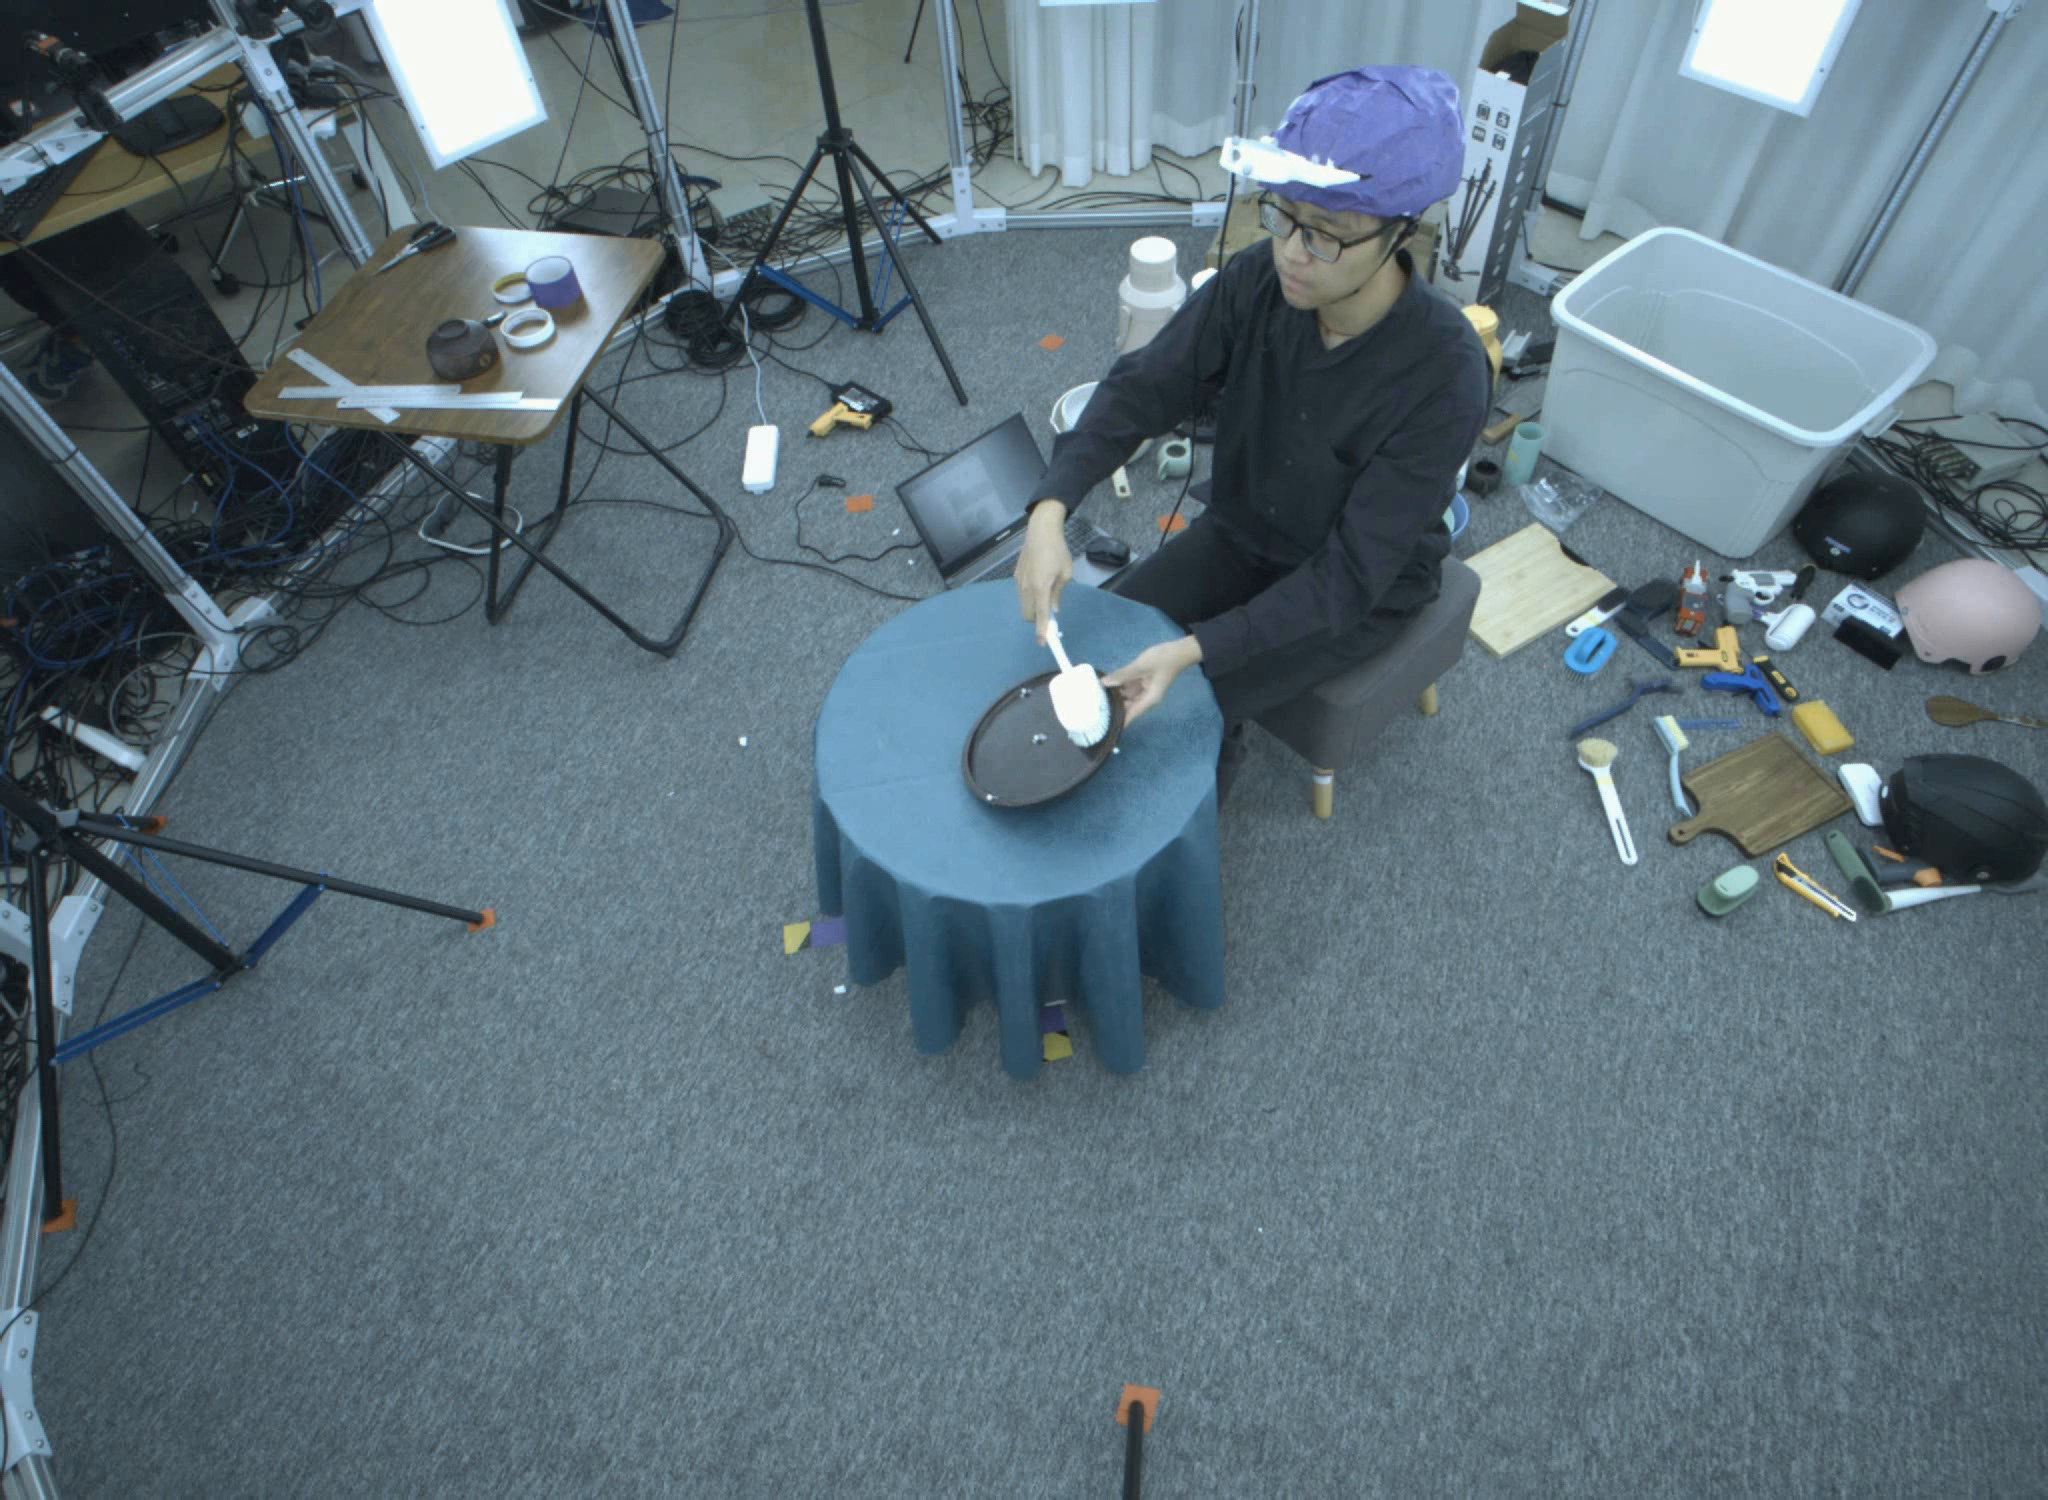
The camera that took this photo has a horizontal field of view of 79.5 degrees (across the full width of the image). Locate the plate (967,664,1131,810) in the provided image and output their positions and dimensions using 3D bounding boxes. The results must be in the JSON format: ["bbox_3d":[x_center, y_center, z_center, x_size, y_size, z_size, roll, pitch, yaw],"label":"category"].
[{"bbox_3d":[0.035,-0.019,1.724,0.252,0.029,0.252,-18,43,20],"label":"plate"}]

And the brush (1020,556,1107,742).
[{"bbox_3d":[0.058,-0.144,1.758,0.084,0.084,0.320,-4,56,-18],"label":"brush"}]
